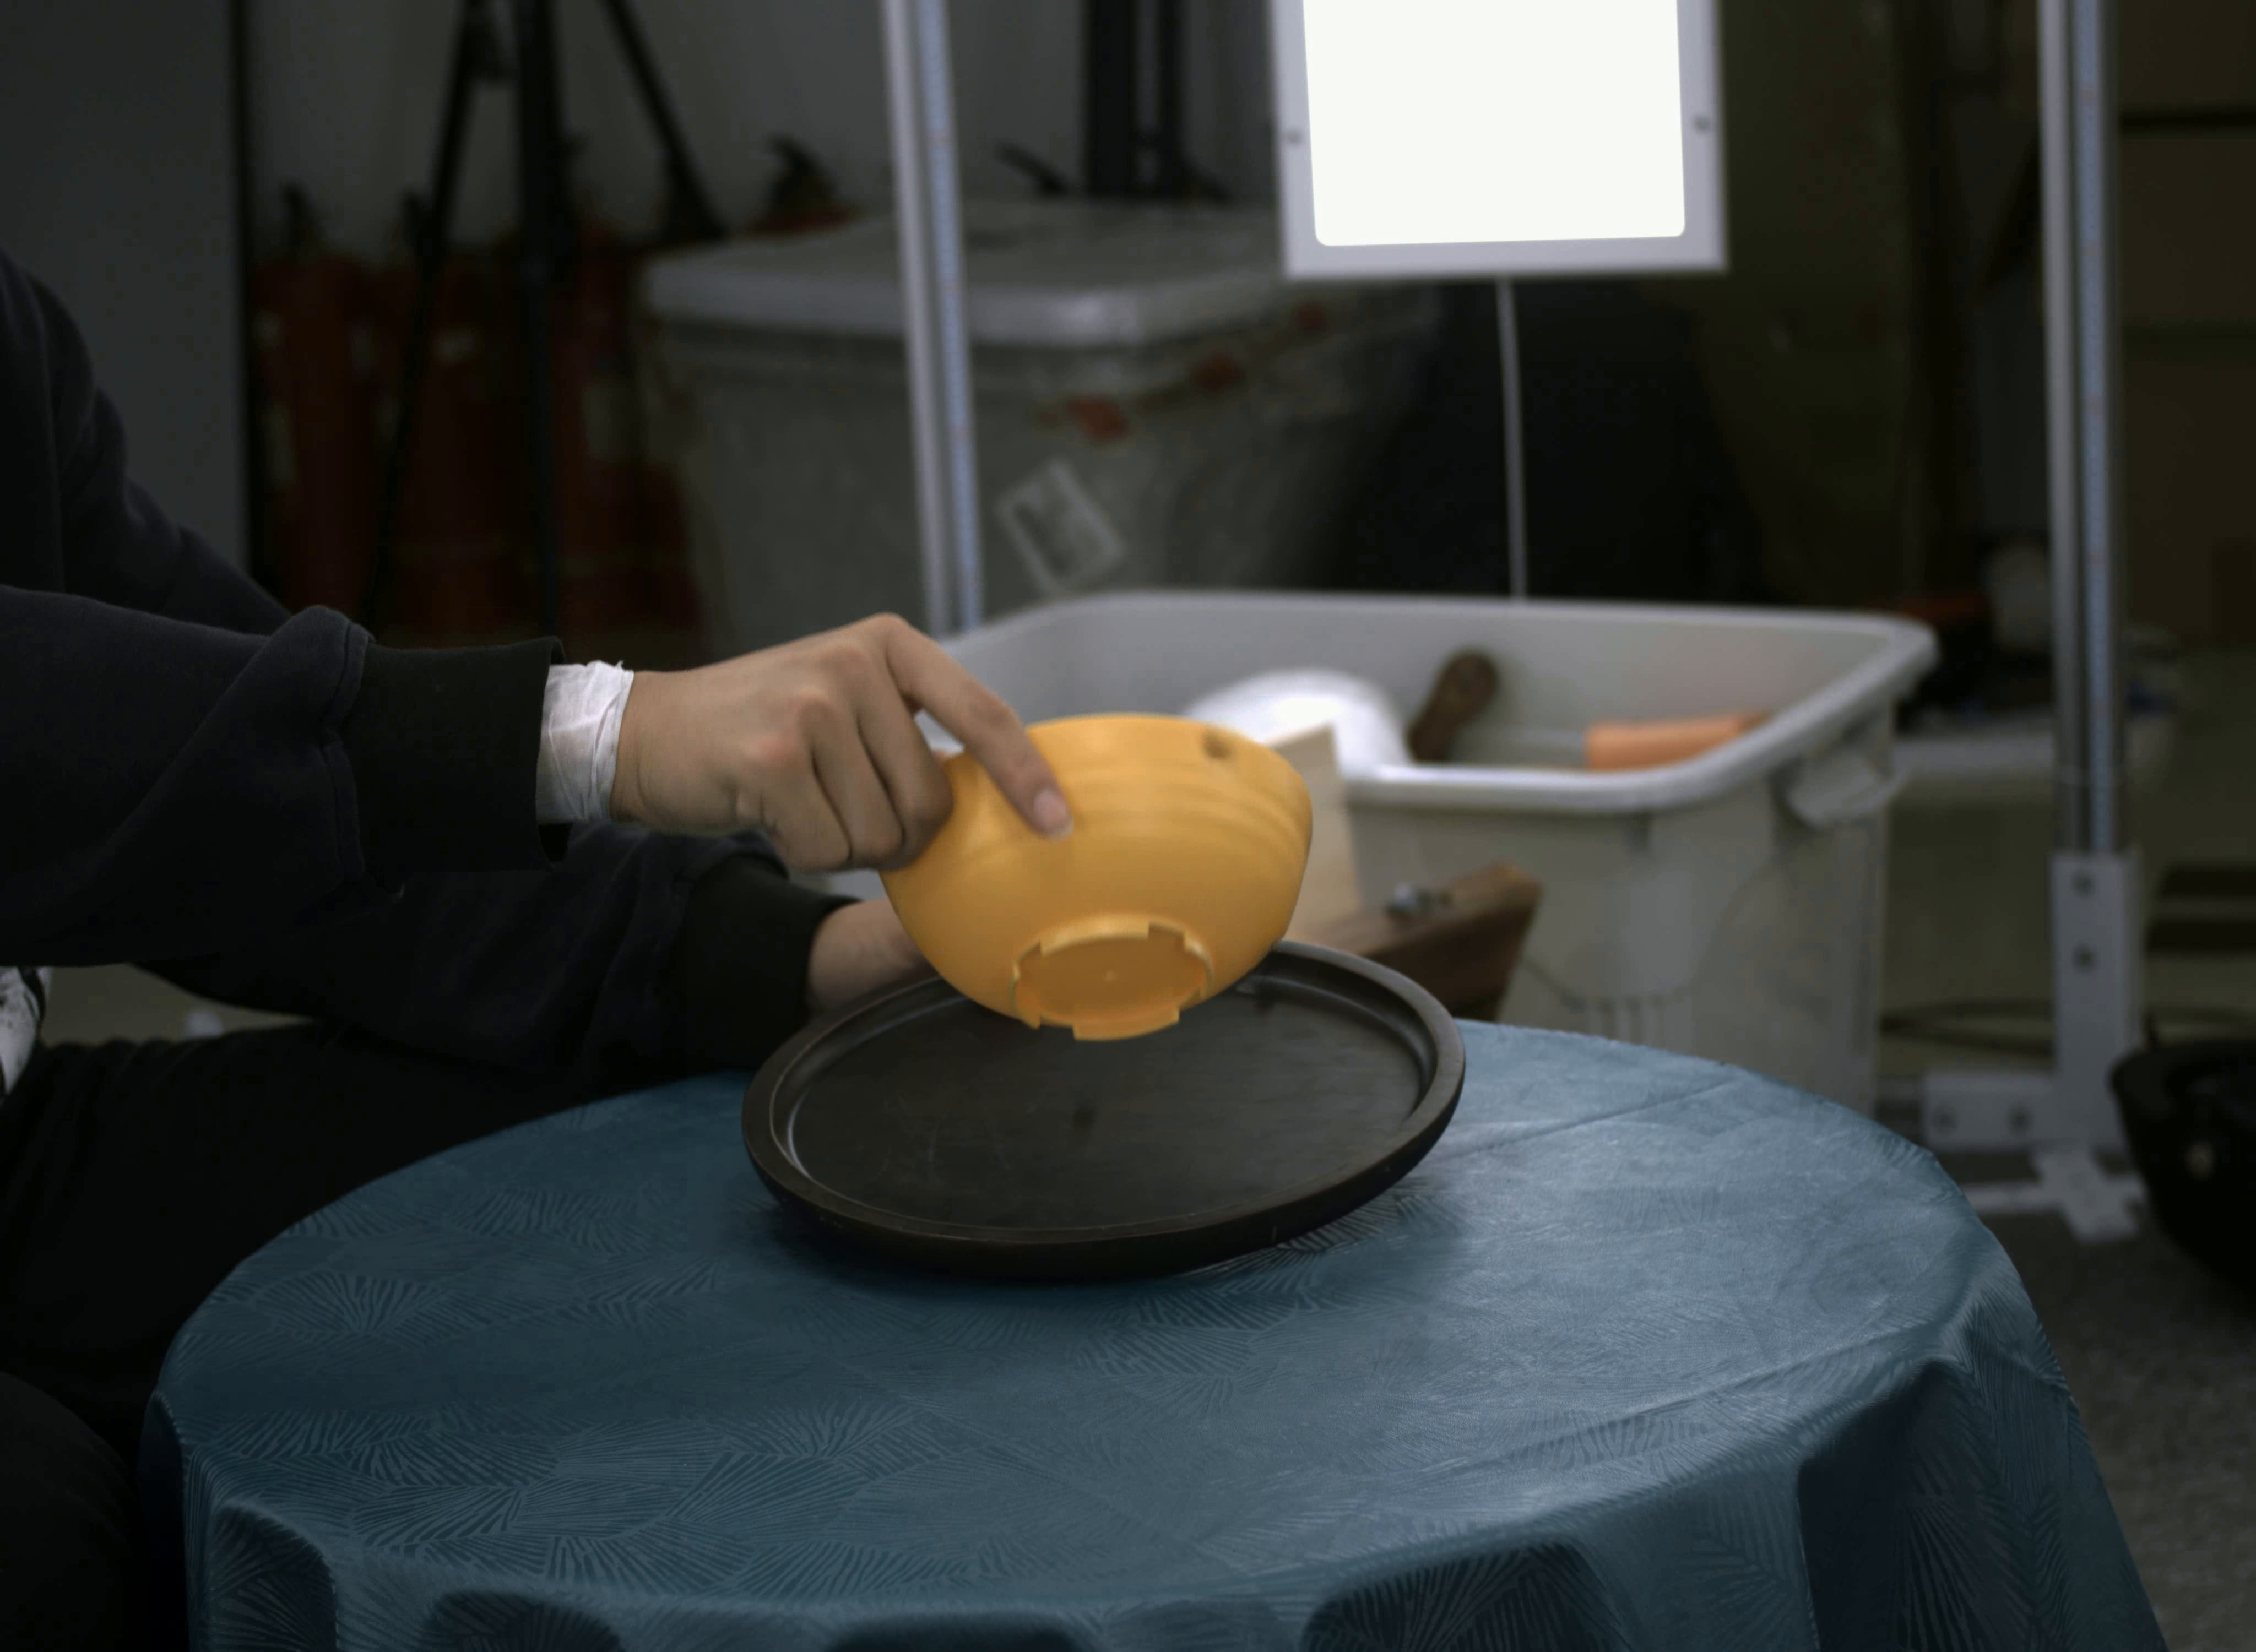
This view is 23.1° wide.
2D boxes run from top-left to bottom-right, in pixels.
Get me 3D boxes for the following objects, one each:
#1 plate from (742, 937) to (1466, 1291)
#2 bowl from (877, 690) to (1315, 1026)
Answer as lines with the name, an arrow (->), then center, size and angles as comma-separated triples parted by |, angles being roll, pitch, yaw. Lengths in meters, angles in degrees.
plate -> -0.007, 0.096, 1.910 | 0.254, 0.029, 0.254 | -8, 23, 2
bowl -> -0.008, 0.022, 1.776 | 0.145, 0.146, 0.060 | -4, 55, 1
